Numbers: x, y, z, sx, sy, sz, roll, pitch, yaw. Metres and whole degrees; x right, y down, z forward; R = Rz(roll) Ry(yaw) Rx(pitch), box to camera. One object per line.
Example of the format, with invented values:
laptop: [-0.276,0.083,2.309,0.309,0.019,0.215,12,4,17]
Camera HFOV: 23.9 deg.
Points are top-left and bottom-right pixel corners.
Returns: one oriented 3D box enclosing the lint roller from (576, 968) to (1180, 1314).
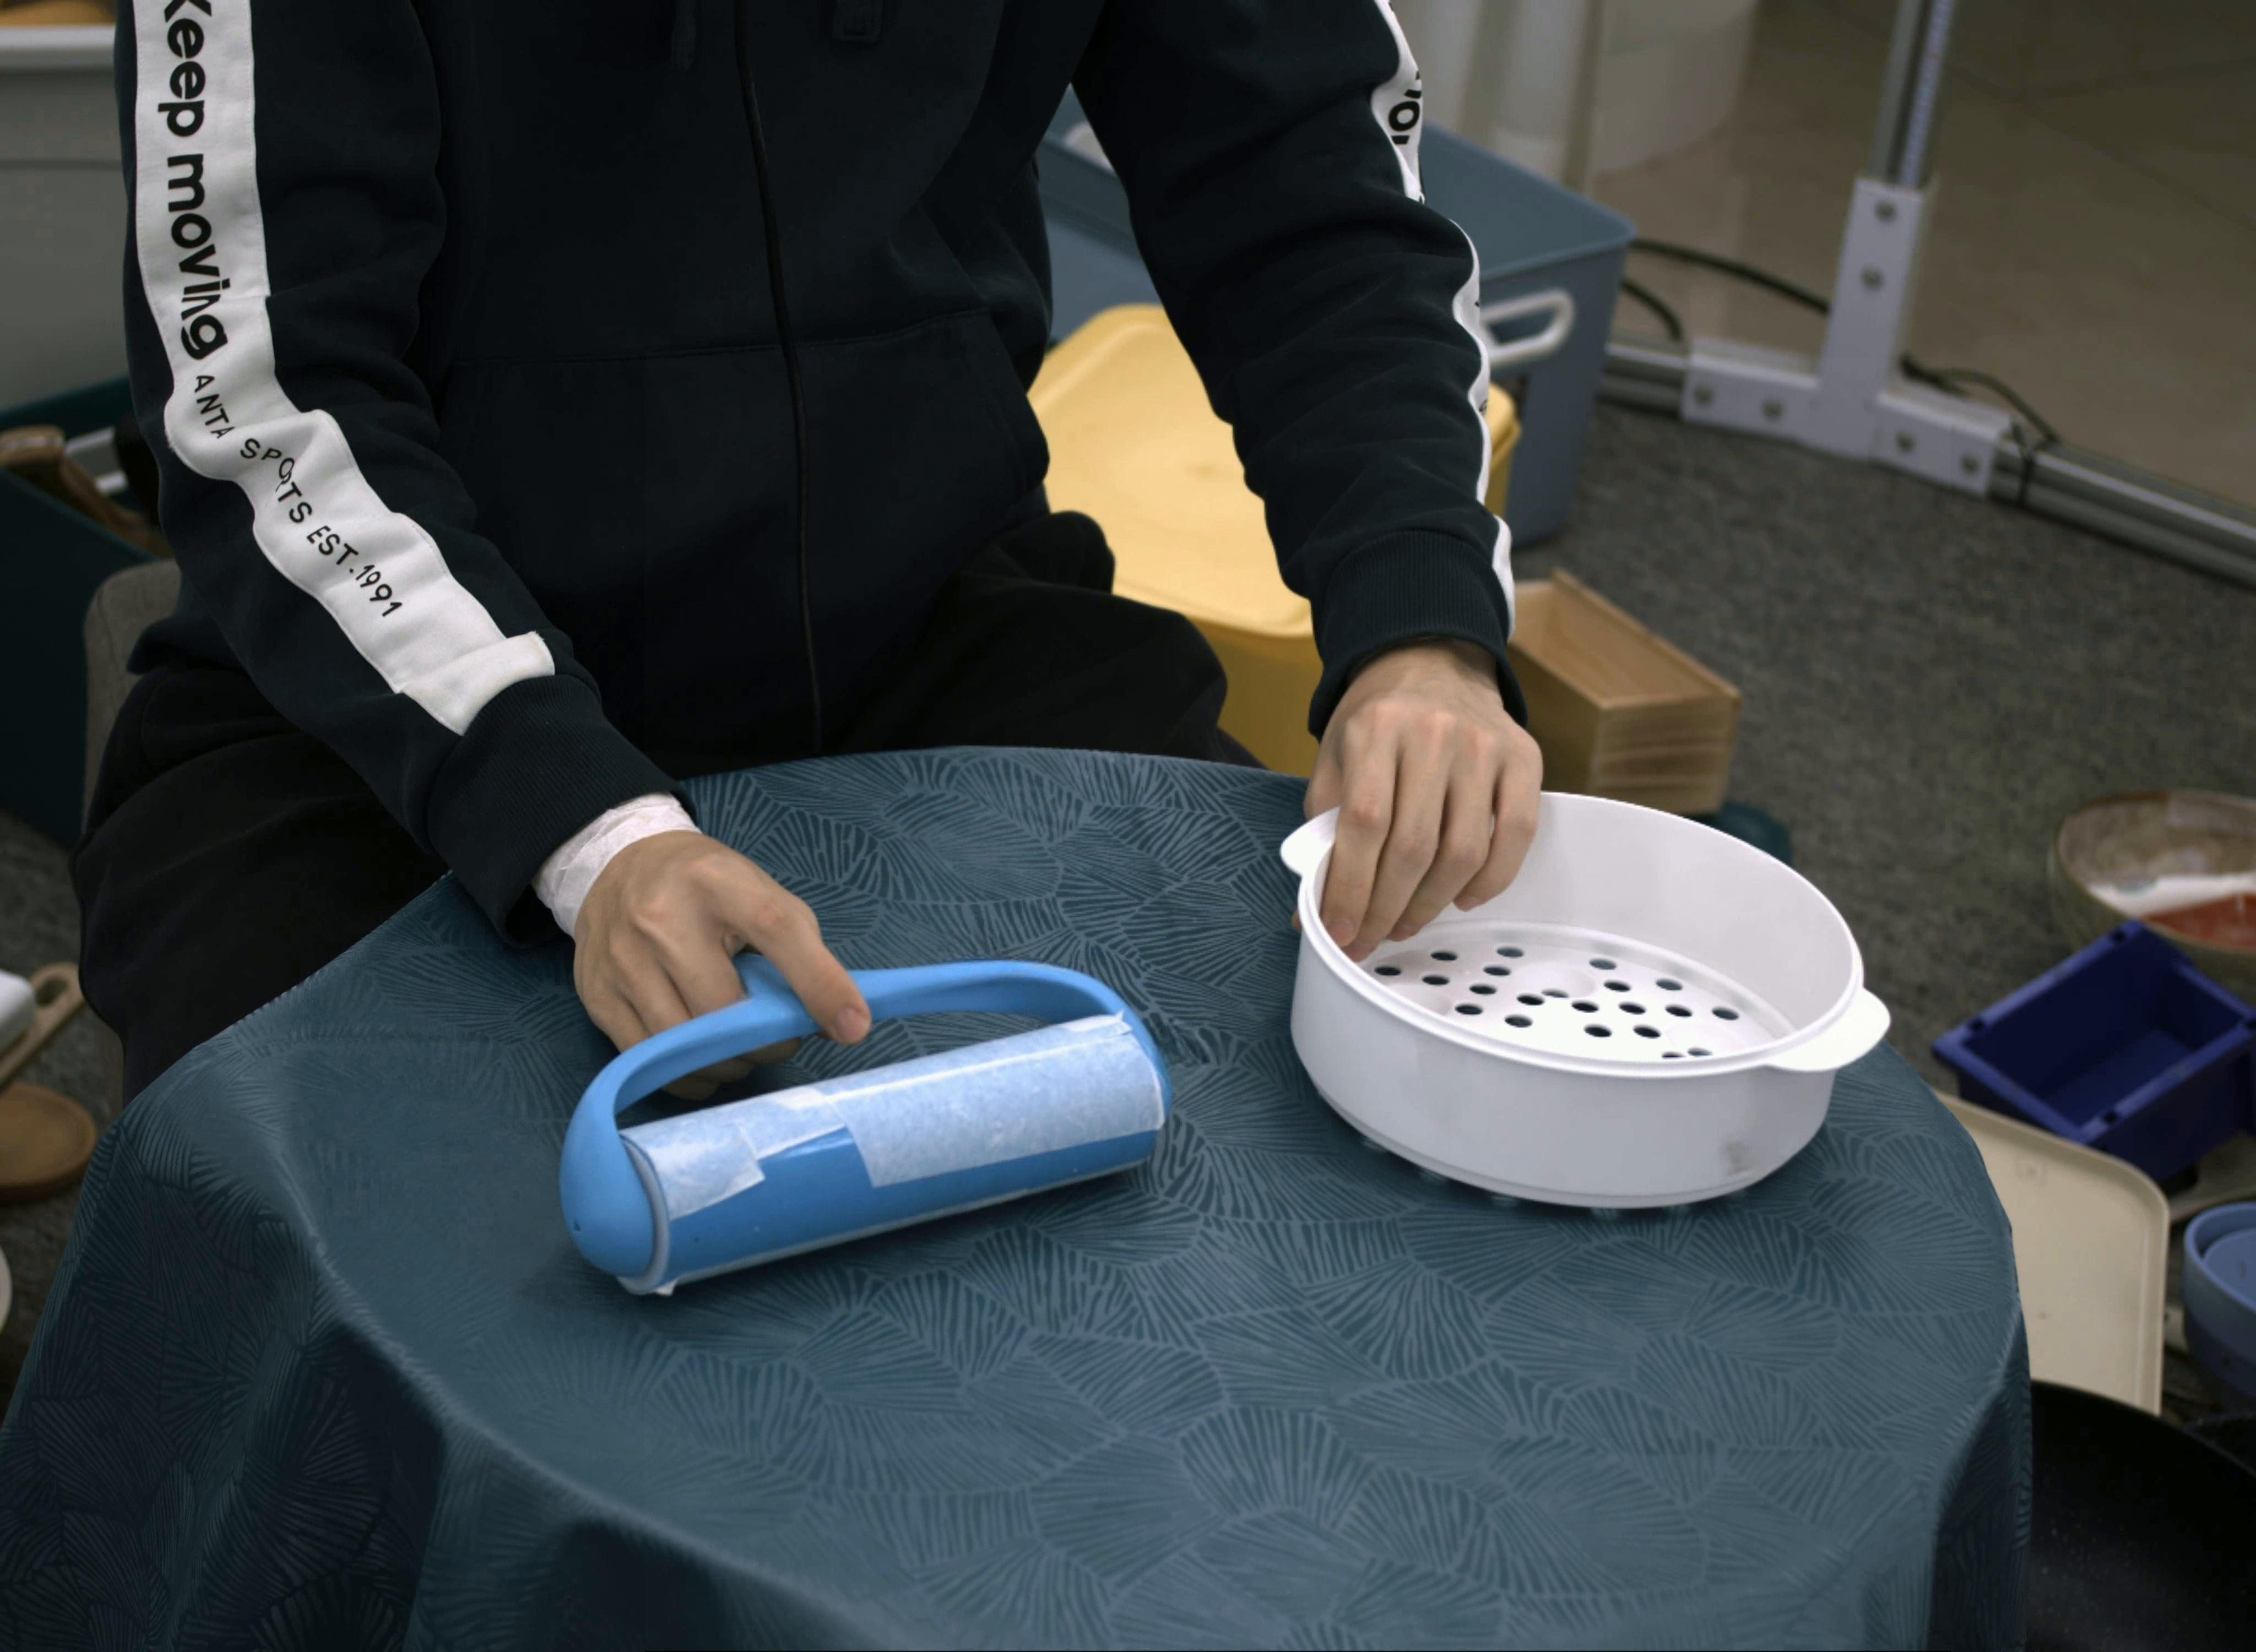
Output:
lint roller: [-0.115,0.084,1.791,0.227,0.067,0.182,-17,36,-35]

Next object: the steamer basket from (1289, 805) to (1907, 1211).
steamer basket: [0.160,0.064,1.876,0.232,0.069,0.201,21,29,28]
